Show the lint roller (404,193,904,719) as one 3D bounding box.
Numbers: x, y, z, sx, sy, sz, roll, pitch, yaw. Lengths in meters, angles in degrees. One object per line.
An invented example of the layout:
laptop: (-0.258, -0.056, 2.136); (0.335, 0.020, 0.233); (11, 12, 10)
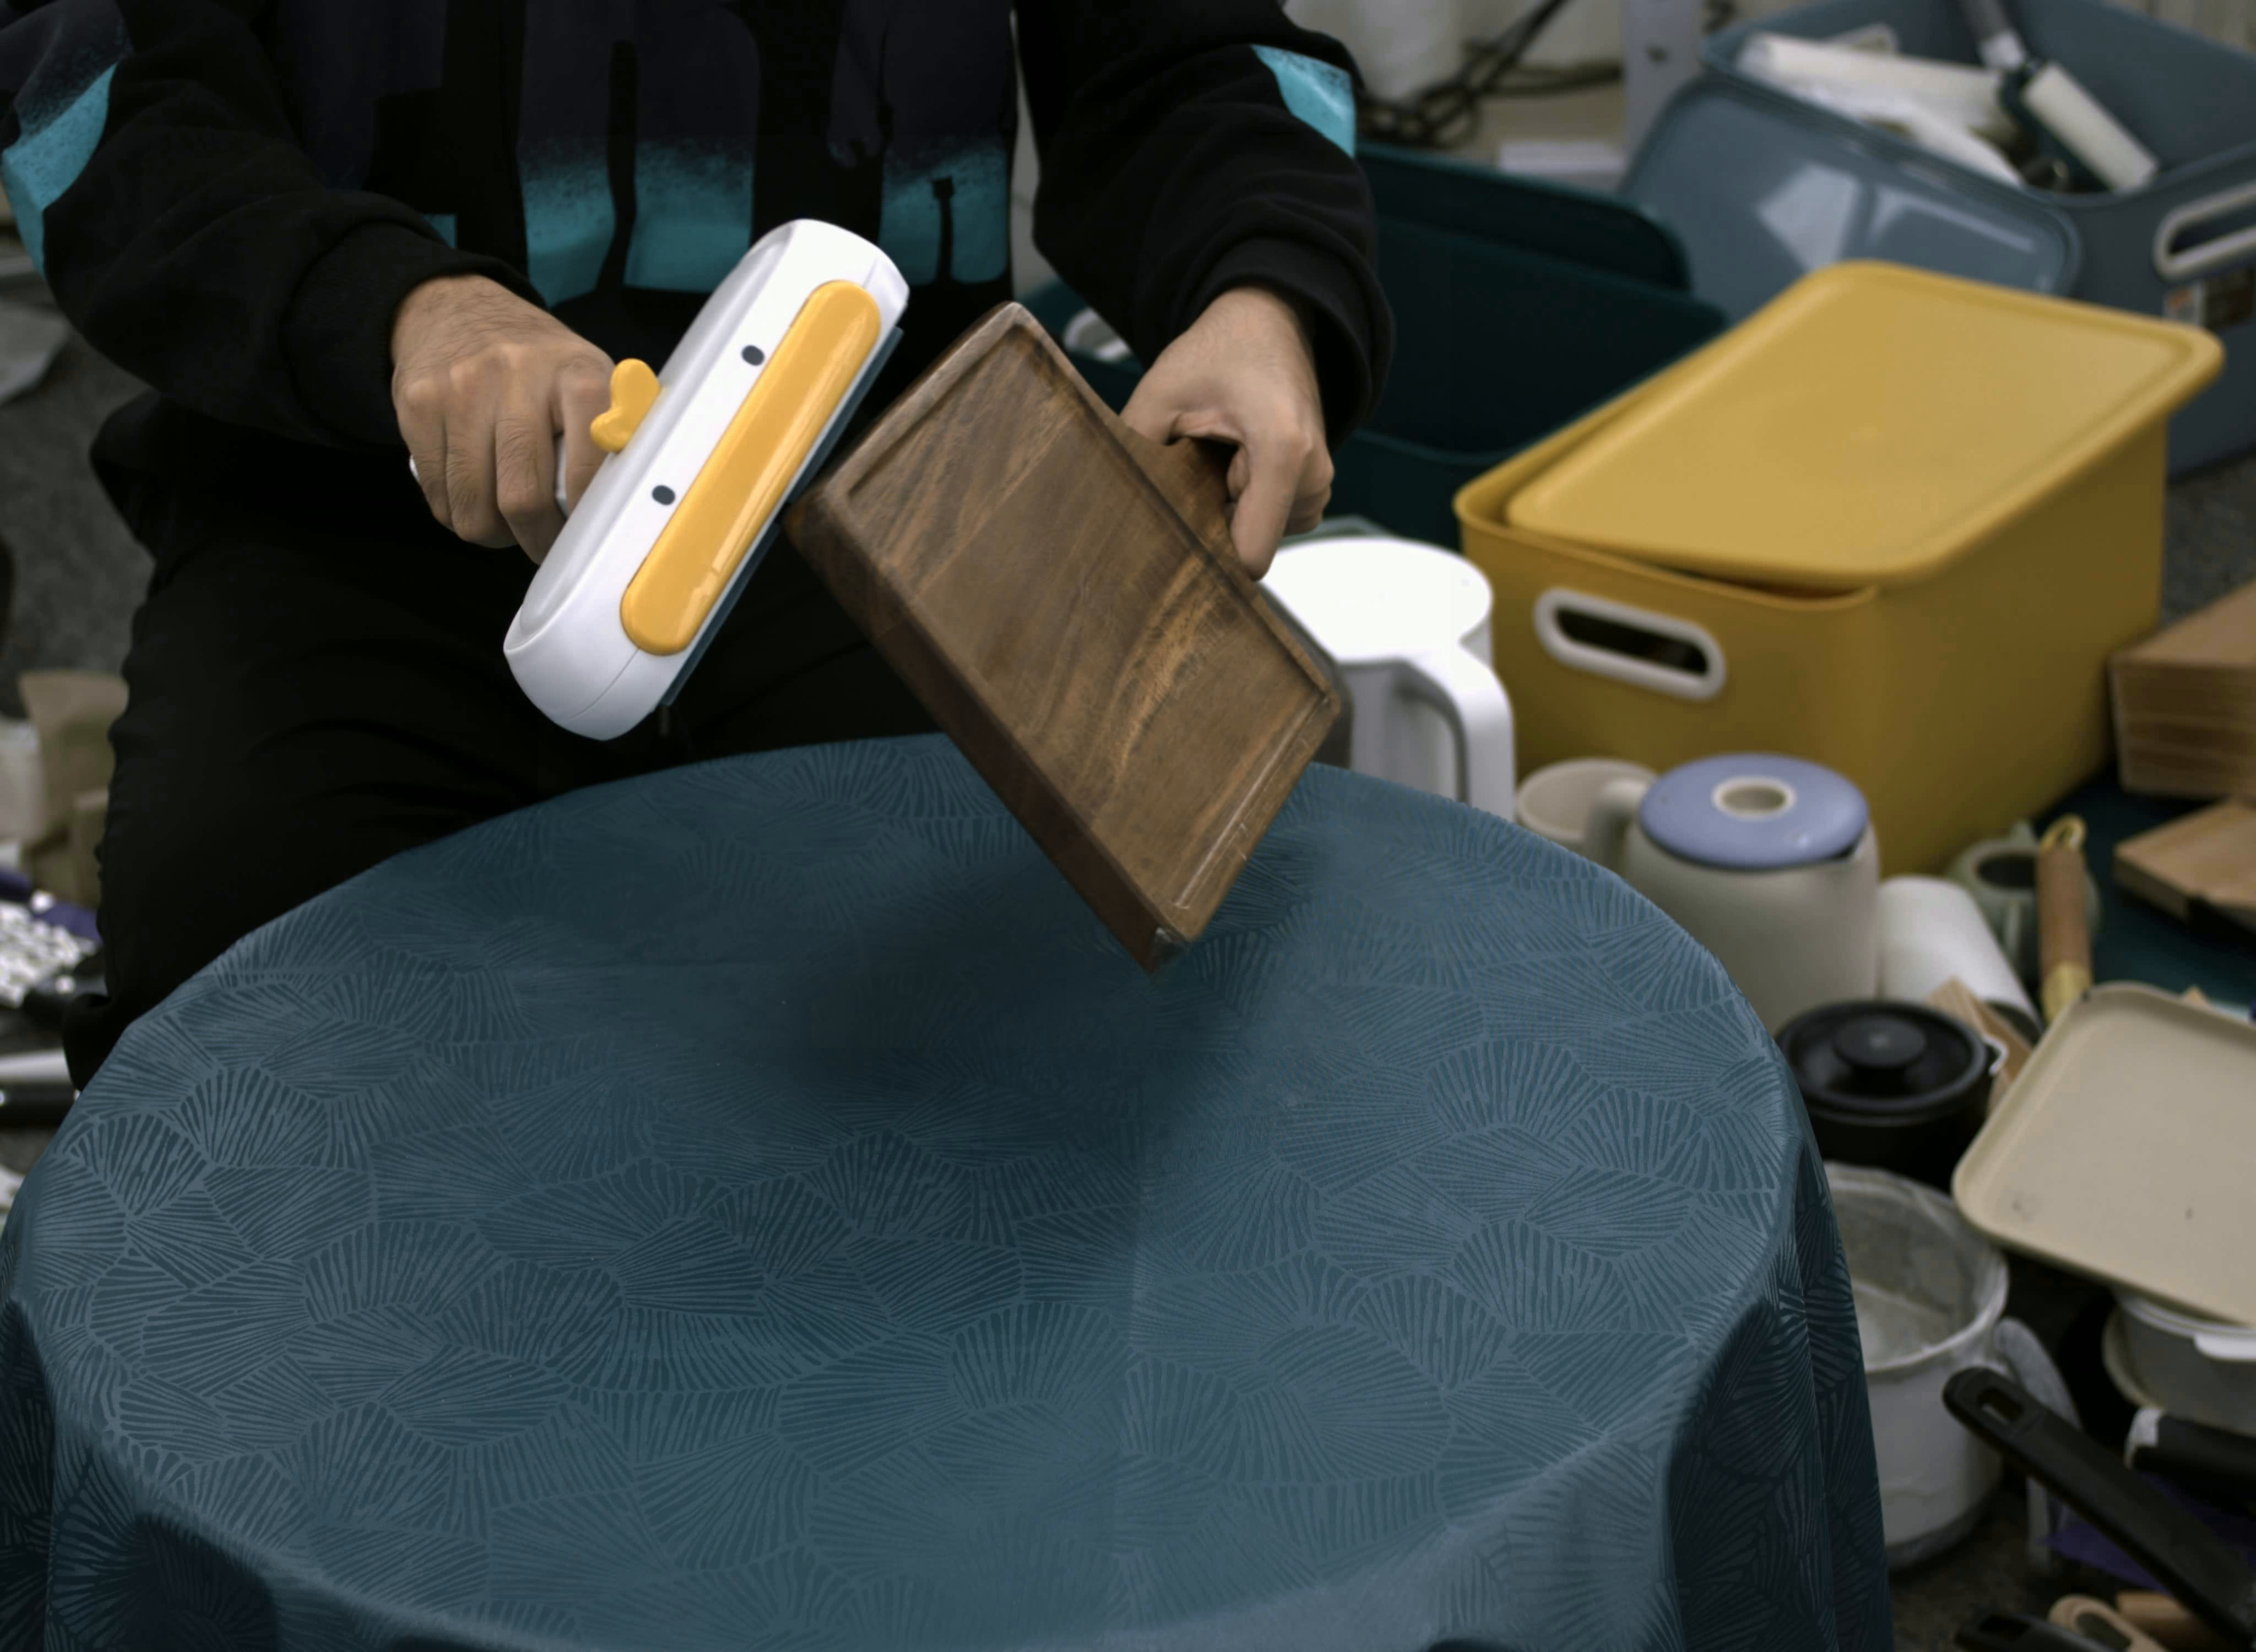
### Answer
lint roller: (-0.174, -0.122, 1.893); (0.190, 0.074, 0.196); (-9, 52, 54)

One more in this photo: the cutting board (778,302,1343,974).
cutting board: (-0.006, -0.087, 1.986); (0.023, 0.201, 0.357); (-38, 7, 23)
